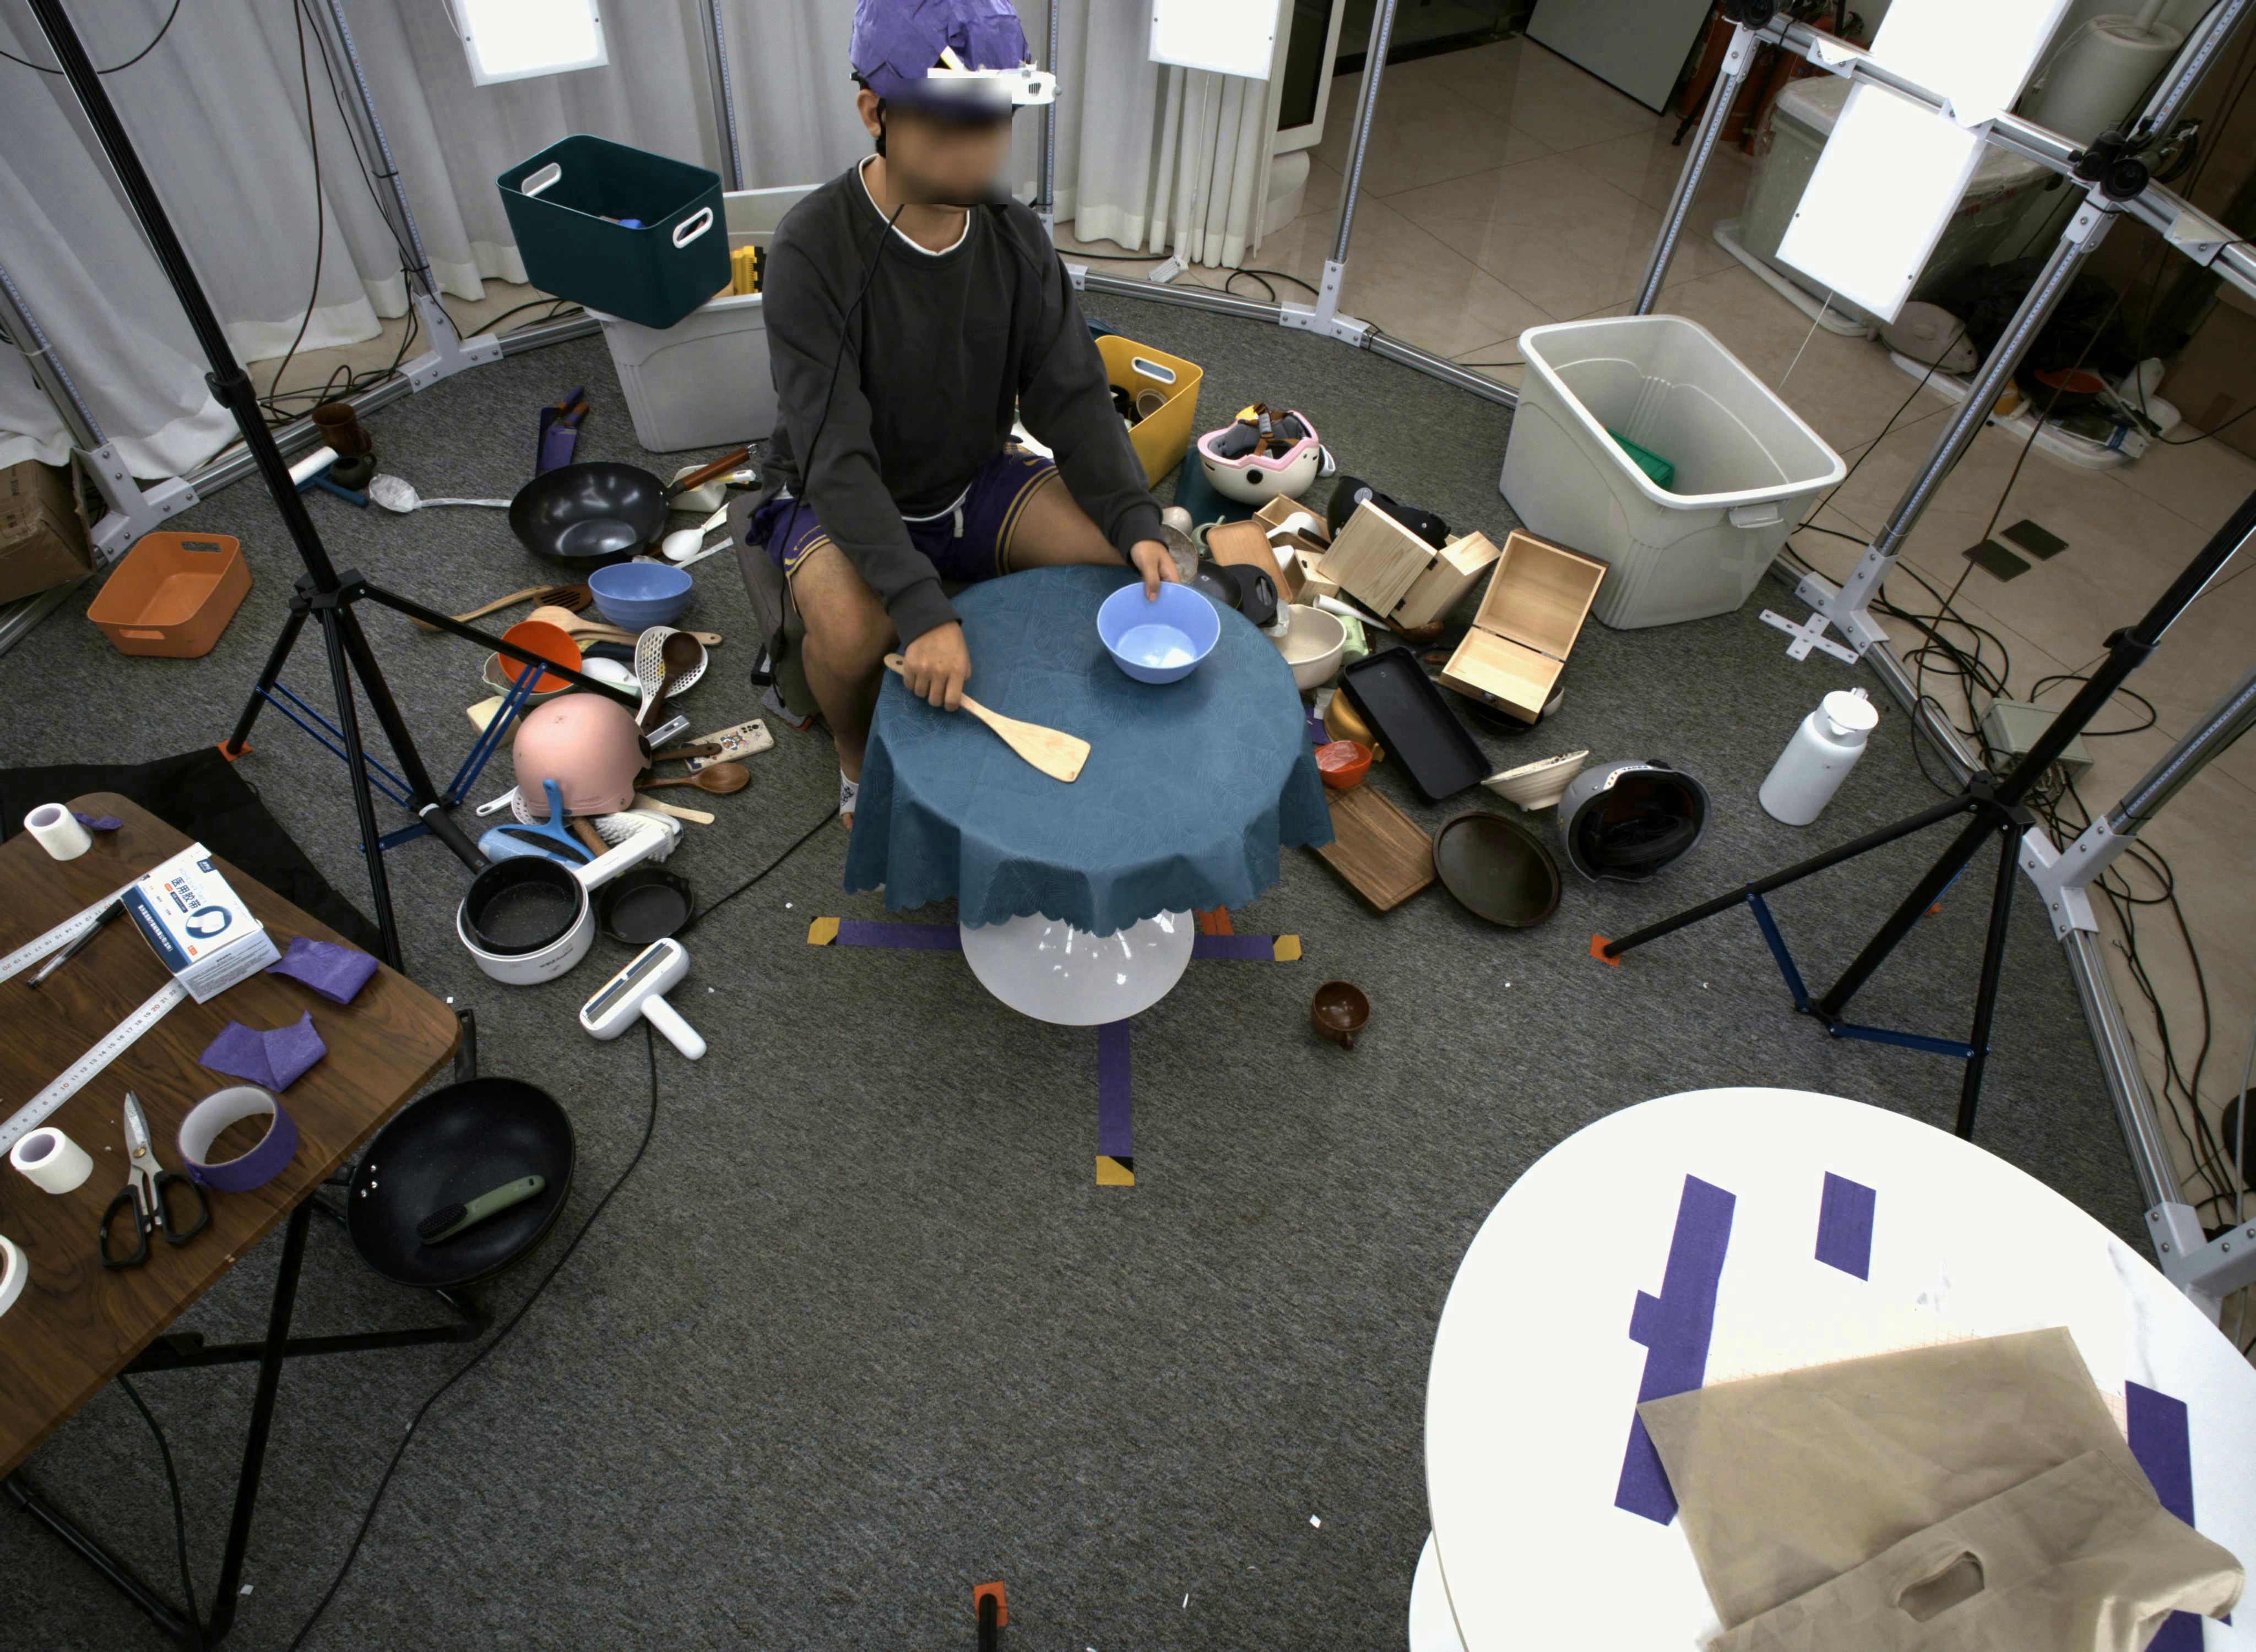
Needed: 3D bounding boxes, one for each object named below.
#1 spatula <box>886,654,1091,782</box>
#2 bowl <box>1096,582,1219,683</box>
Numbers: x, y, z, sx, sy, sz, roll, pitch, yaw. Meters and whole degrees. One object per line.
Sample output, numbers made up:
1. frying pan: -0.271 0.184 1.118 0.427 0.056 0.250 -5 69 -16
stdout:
1. spatula: -0.196 -0.158 1.768 0.330 0.016 0.081 30 53 13
2. bowl: 0.041 -0.271 1.857 0.176 0.068 0.180 1 51 -2
